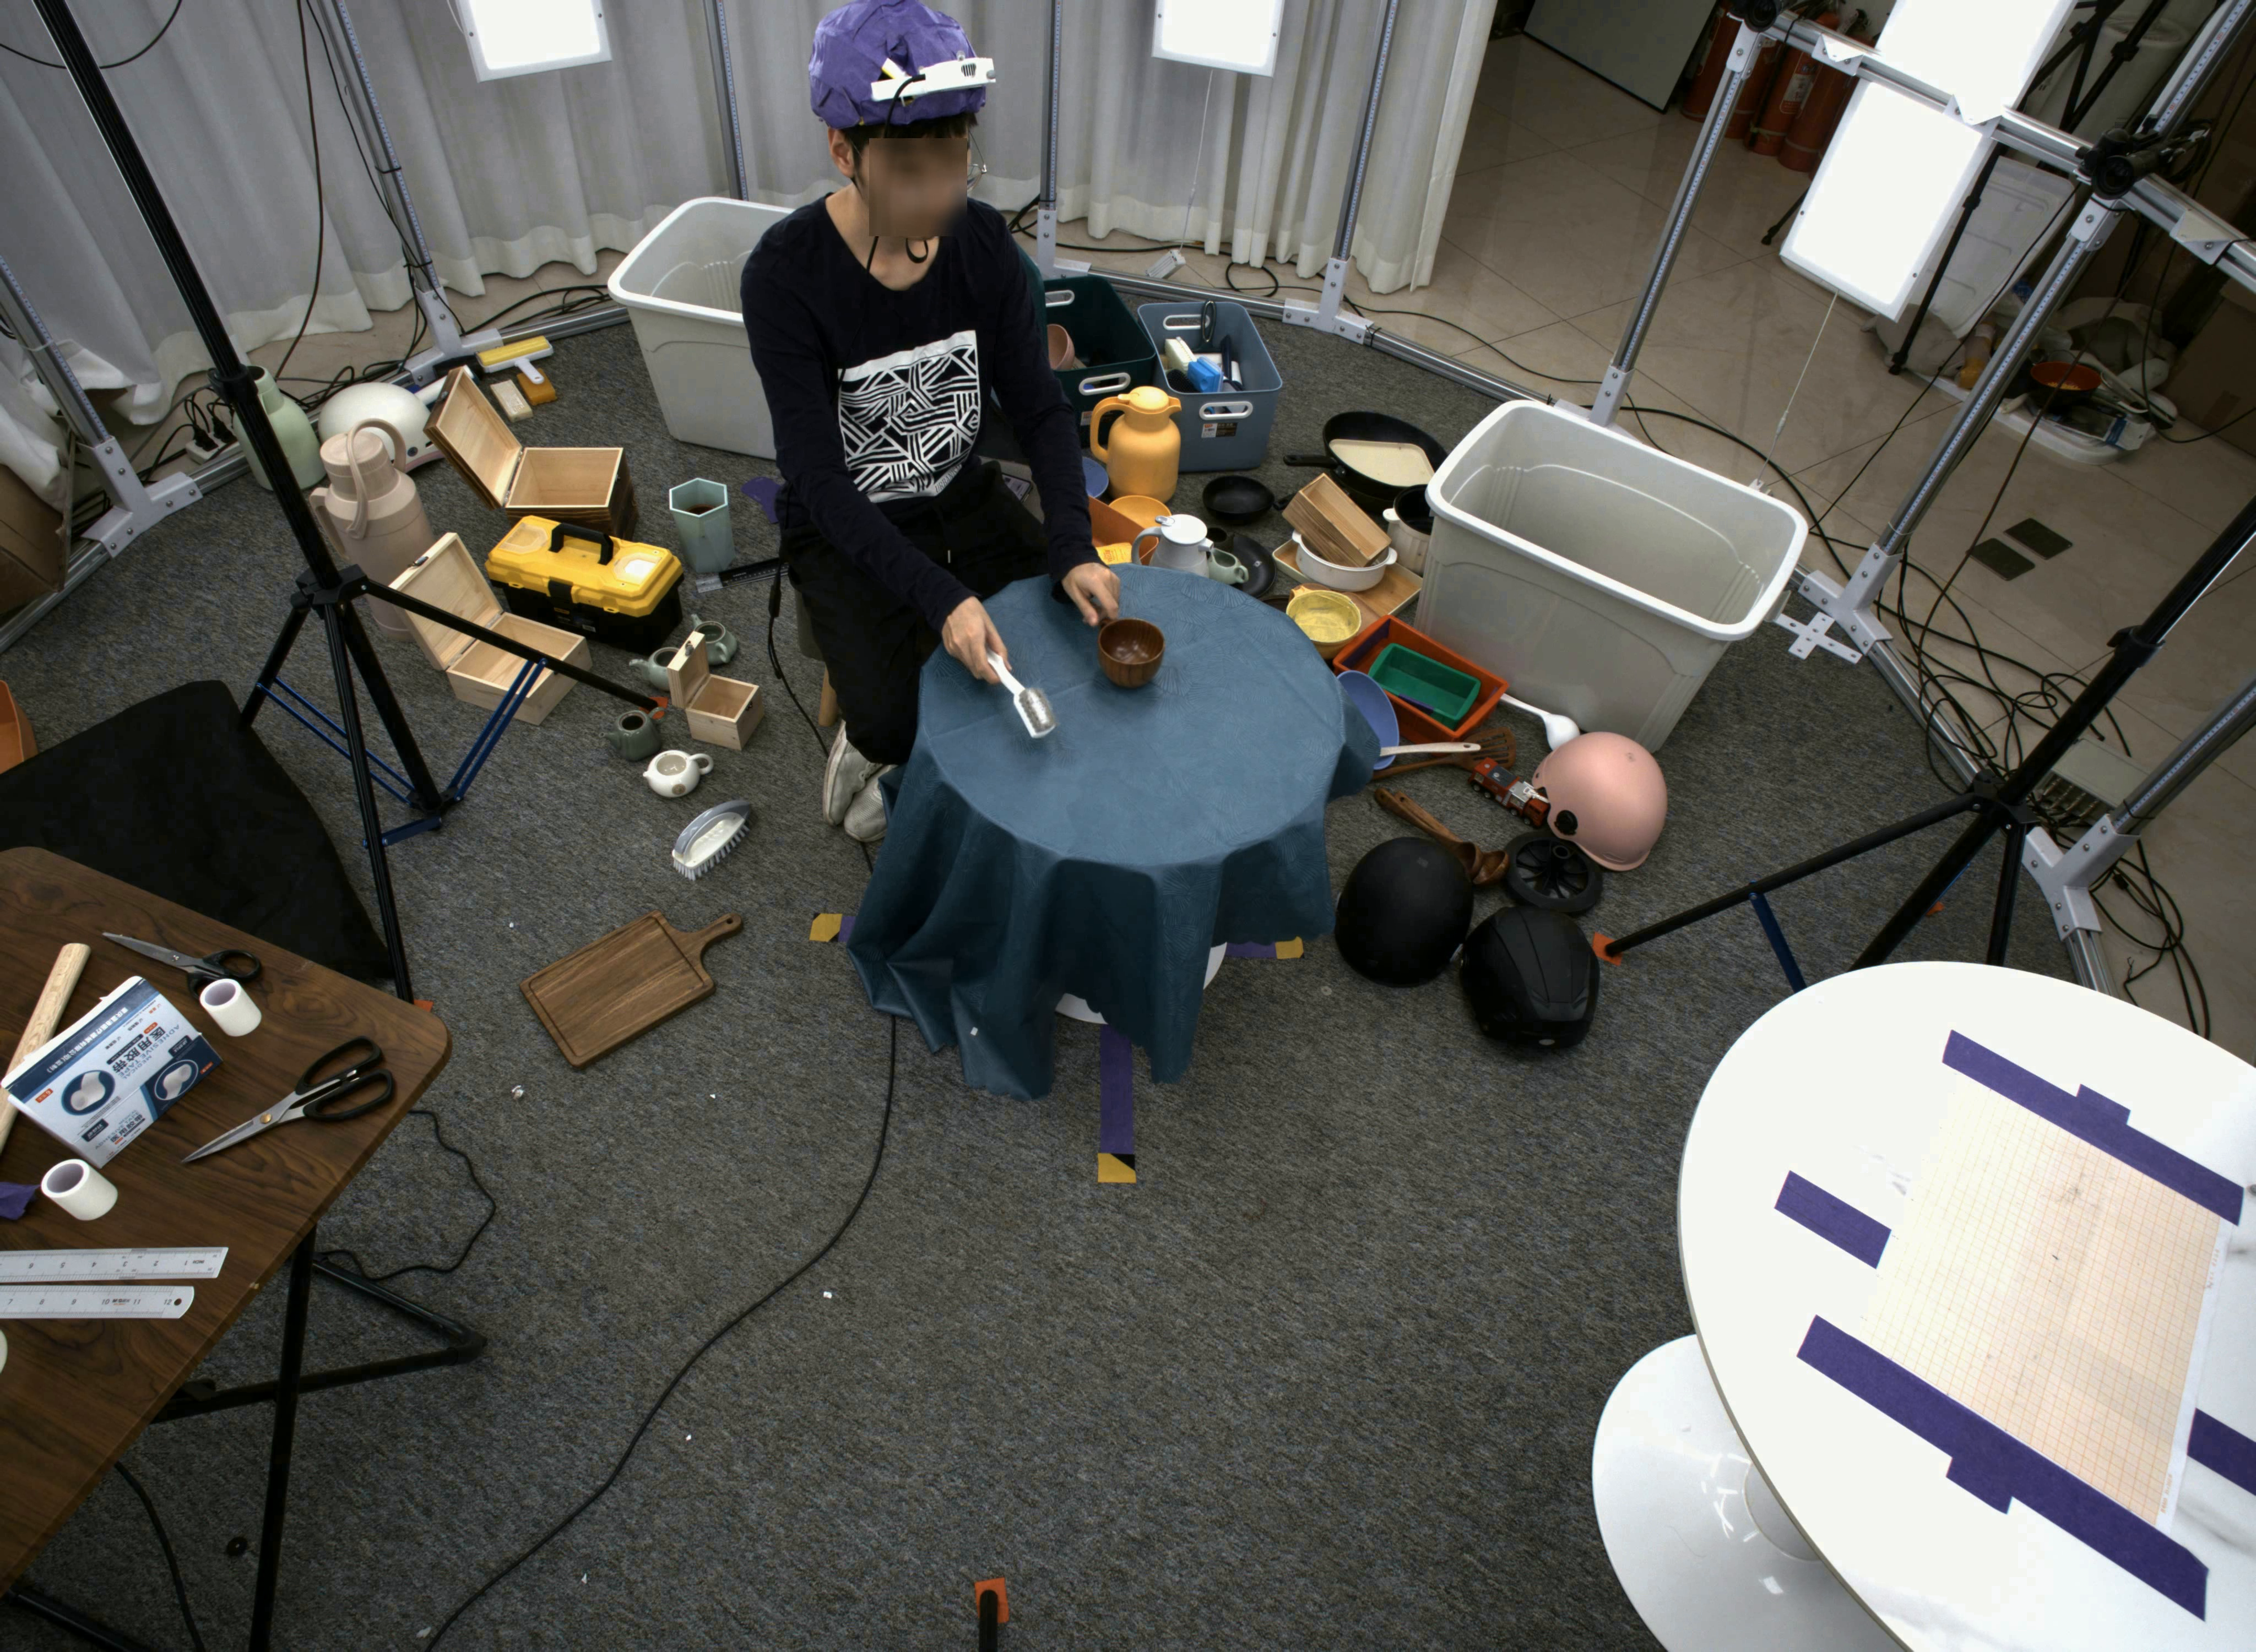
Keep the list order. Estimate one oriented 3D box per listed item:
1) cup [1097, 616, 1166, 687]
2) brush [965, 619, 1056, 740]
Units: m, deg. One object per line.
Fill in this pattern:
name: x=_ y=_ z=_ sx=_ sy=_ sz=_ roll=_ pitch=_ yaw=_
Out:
cup: x=-0.003 y=-0.252 z=1.841 sx=0.097 sy=0.066 sz=0.121 roll=-30 pitch=59 yaw=-24
brush: x=-0.166 y=-0.215 z=1.774 sx=0.034 sy=0.049 sz=0.248 roll=-21 pitch=59 yaw=-19
